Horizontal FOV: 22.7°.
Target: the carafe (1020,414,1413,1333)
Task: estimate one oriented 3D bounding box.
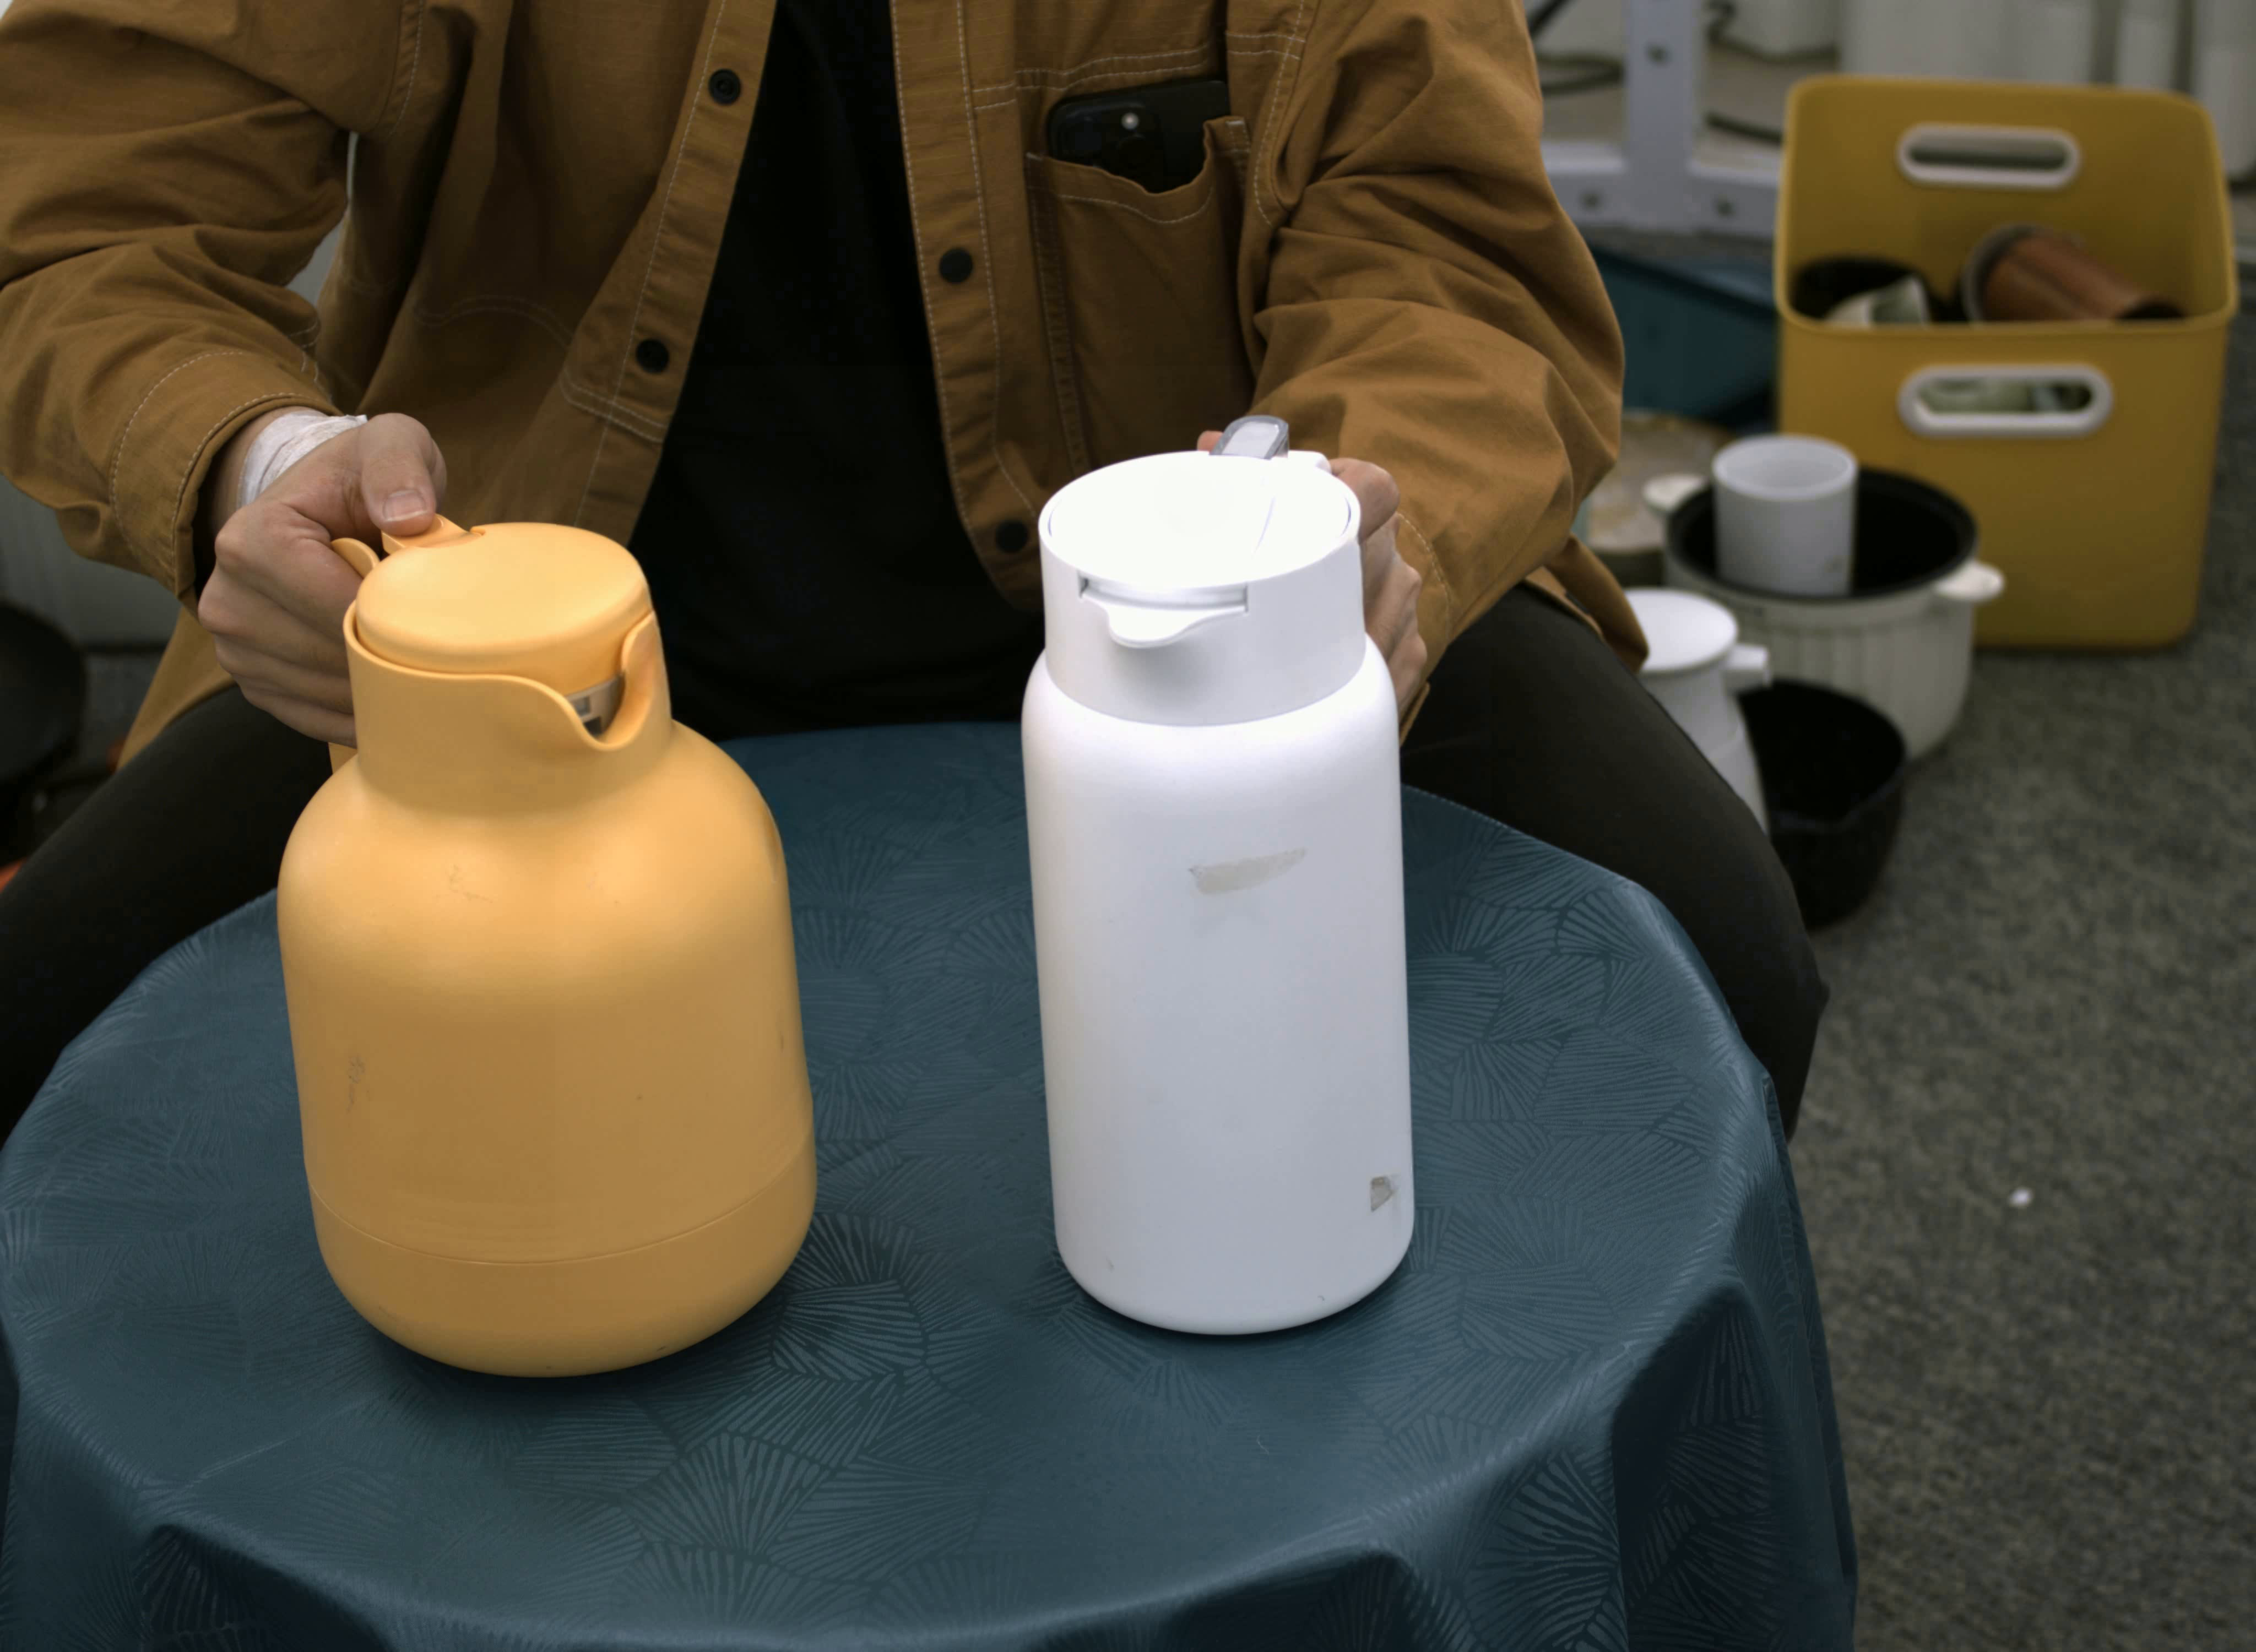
[{"bbox_3d":[0.031,0.011,1.781,0.123,0.266,0.176,3,27,16],"label":"carafe"}]

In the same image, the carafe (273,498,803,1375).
[{"bbox_3d":[-0.196,0.025,1.783,0.164,0.257,0.203,-14,30,-27],"label":"carafe"}]
